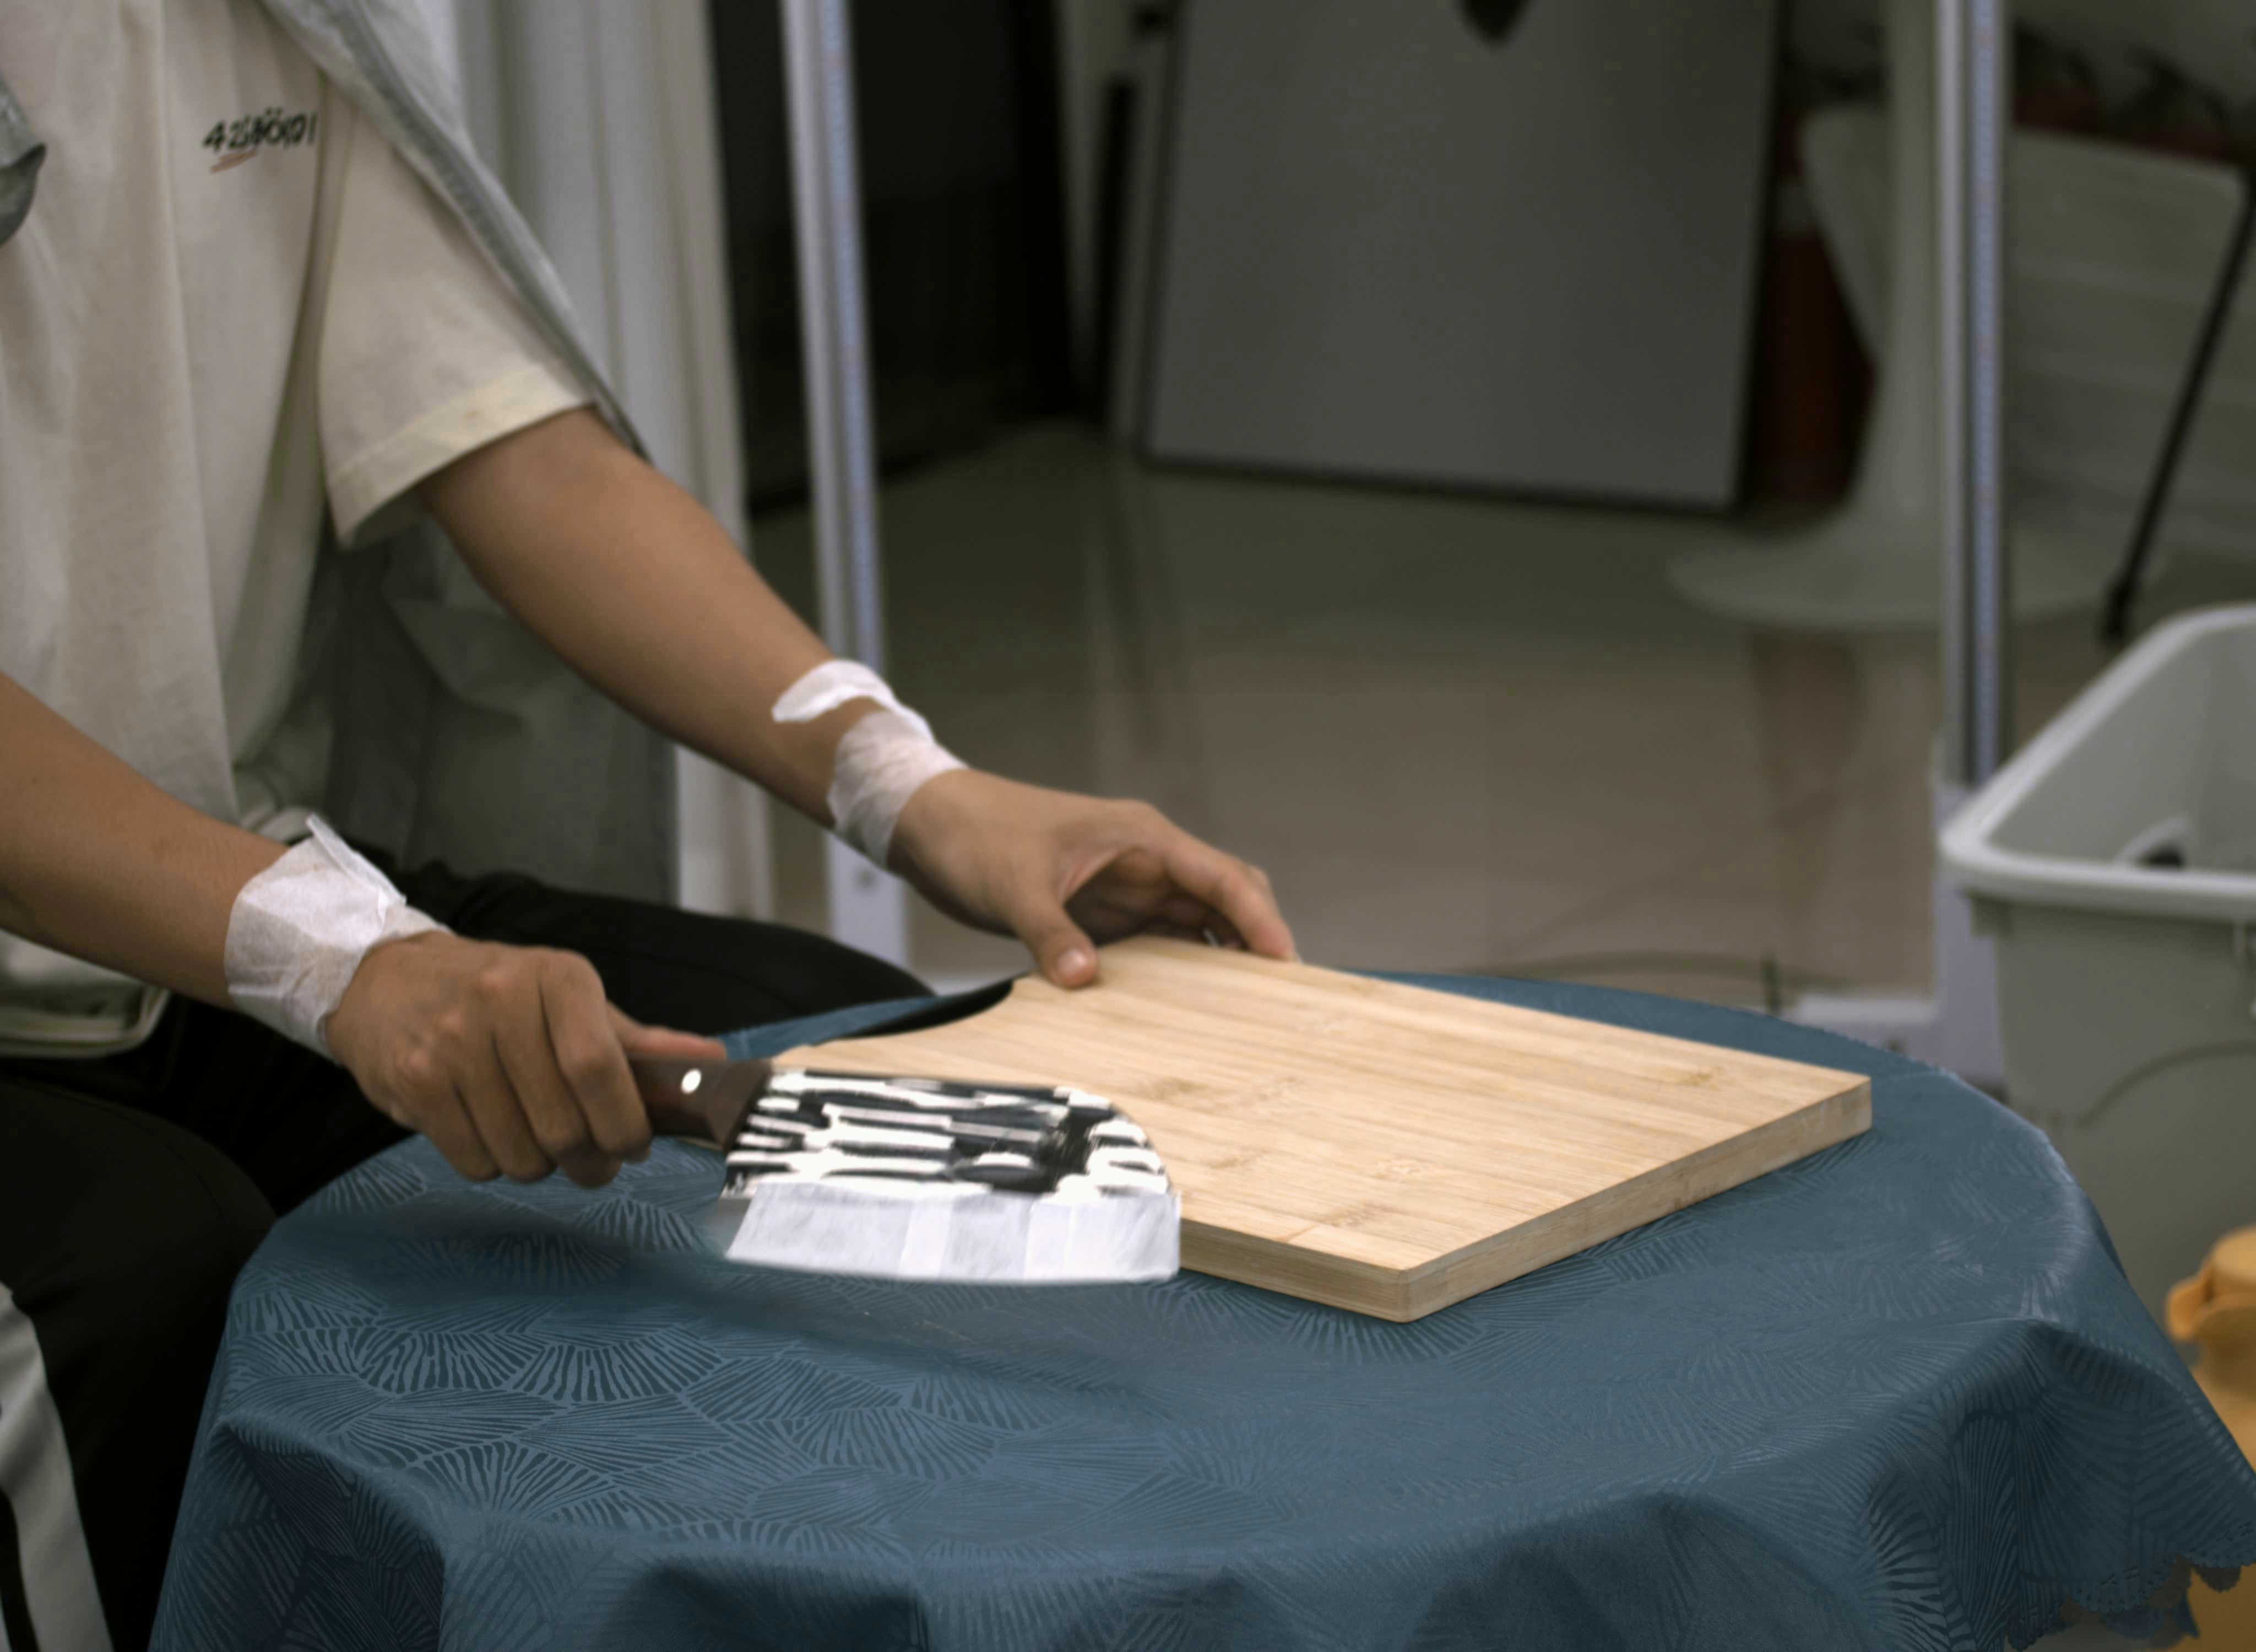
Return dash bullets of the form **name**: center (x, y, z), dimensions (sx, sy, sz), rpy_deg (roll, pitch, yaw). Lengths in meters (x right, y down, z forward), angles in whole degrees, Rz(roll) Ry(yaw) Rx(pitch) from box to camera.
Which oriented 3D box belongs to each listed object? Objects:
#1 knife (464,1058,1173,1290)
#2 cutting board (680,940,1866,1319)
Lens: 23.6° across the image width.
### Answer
- **knife**: center (-0.101, 0.108, 1.674), dimensions (0.301, 0.068, 0.023), rpy_deg (3, -29, 37)
- **cutting board**: center (0.042, 0.097, 1.828), dimensions (0.352, 0.024, 0.245), rpy_deg (9, 19, 43)
